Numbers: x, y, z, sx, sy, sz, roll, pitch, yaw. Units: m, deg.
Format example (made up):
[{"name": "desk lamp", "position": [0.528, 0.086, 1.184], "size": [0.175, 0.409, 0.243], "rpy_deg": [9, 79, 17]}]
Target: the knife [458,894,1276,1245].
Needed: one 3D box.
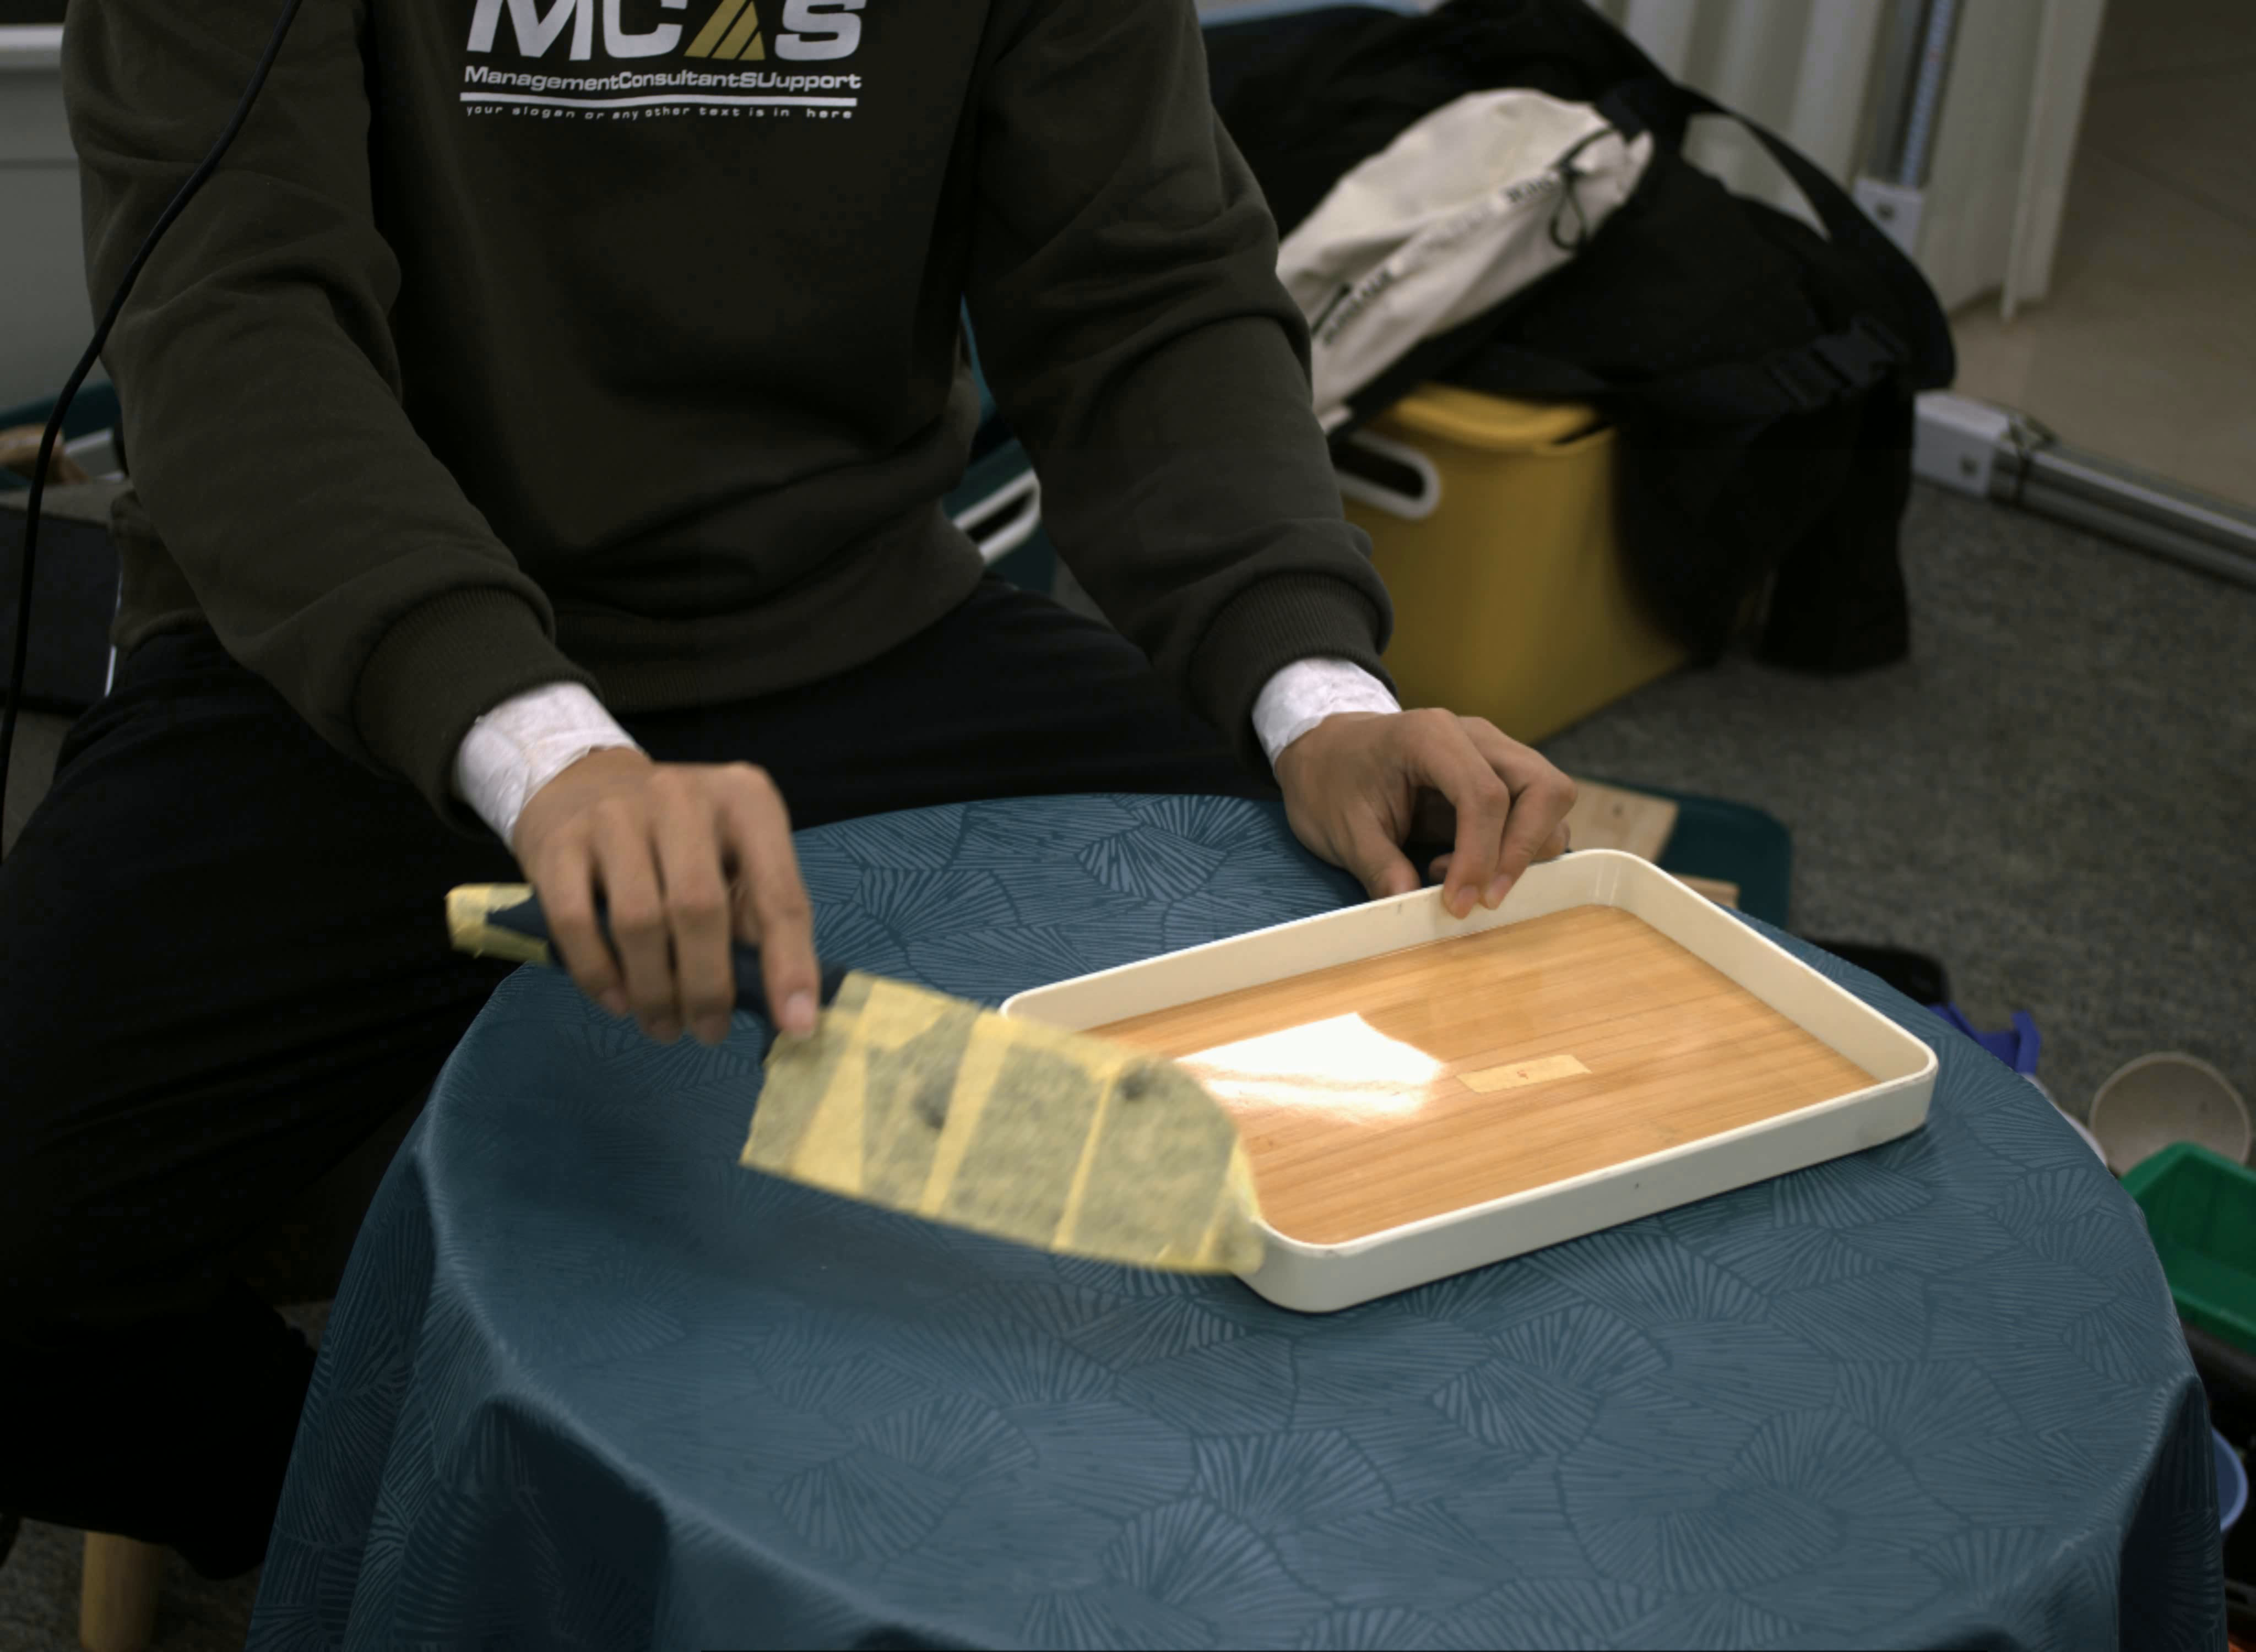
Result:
[{"name": "knife", "position": [-0.089, 0.078, 1.725], "size": [0.290, 0.027, 0.081], "rpy_deg": [16, 68, 12]}]

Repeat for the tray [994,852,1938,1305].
[{"name": "tray", "position": [0.120, 0.084, 1.881], "size": [0.298, 0.027, 0.193], "rpy_deg": [-13, 31, -34]}]
